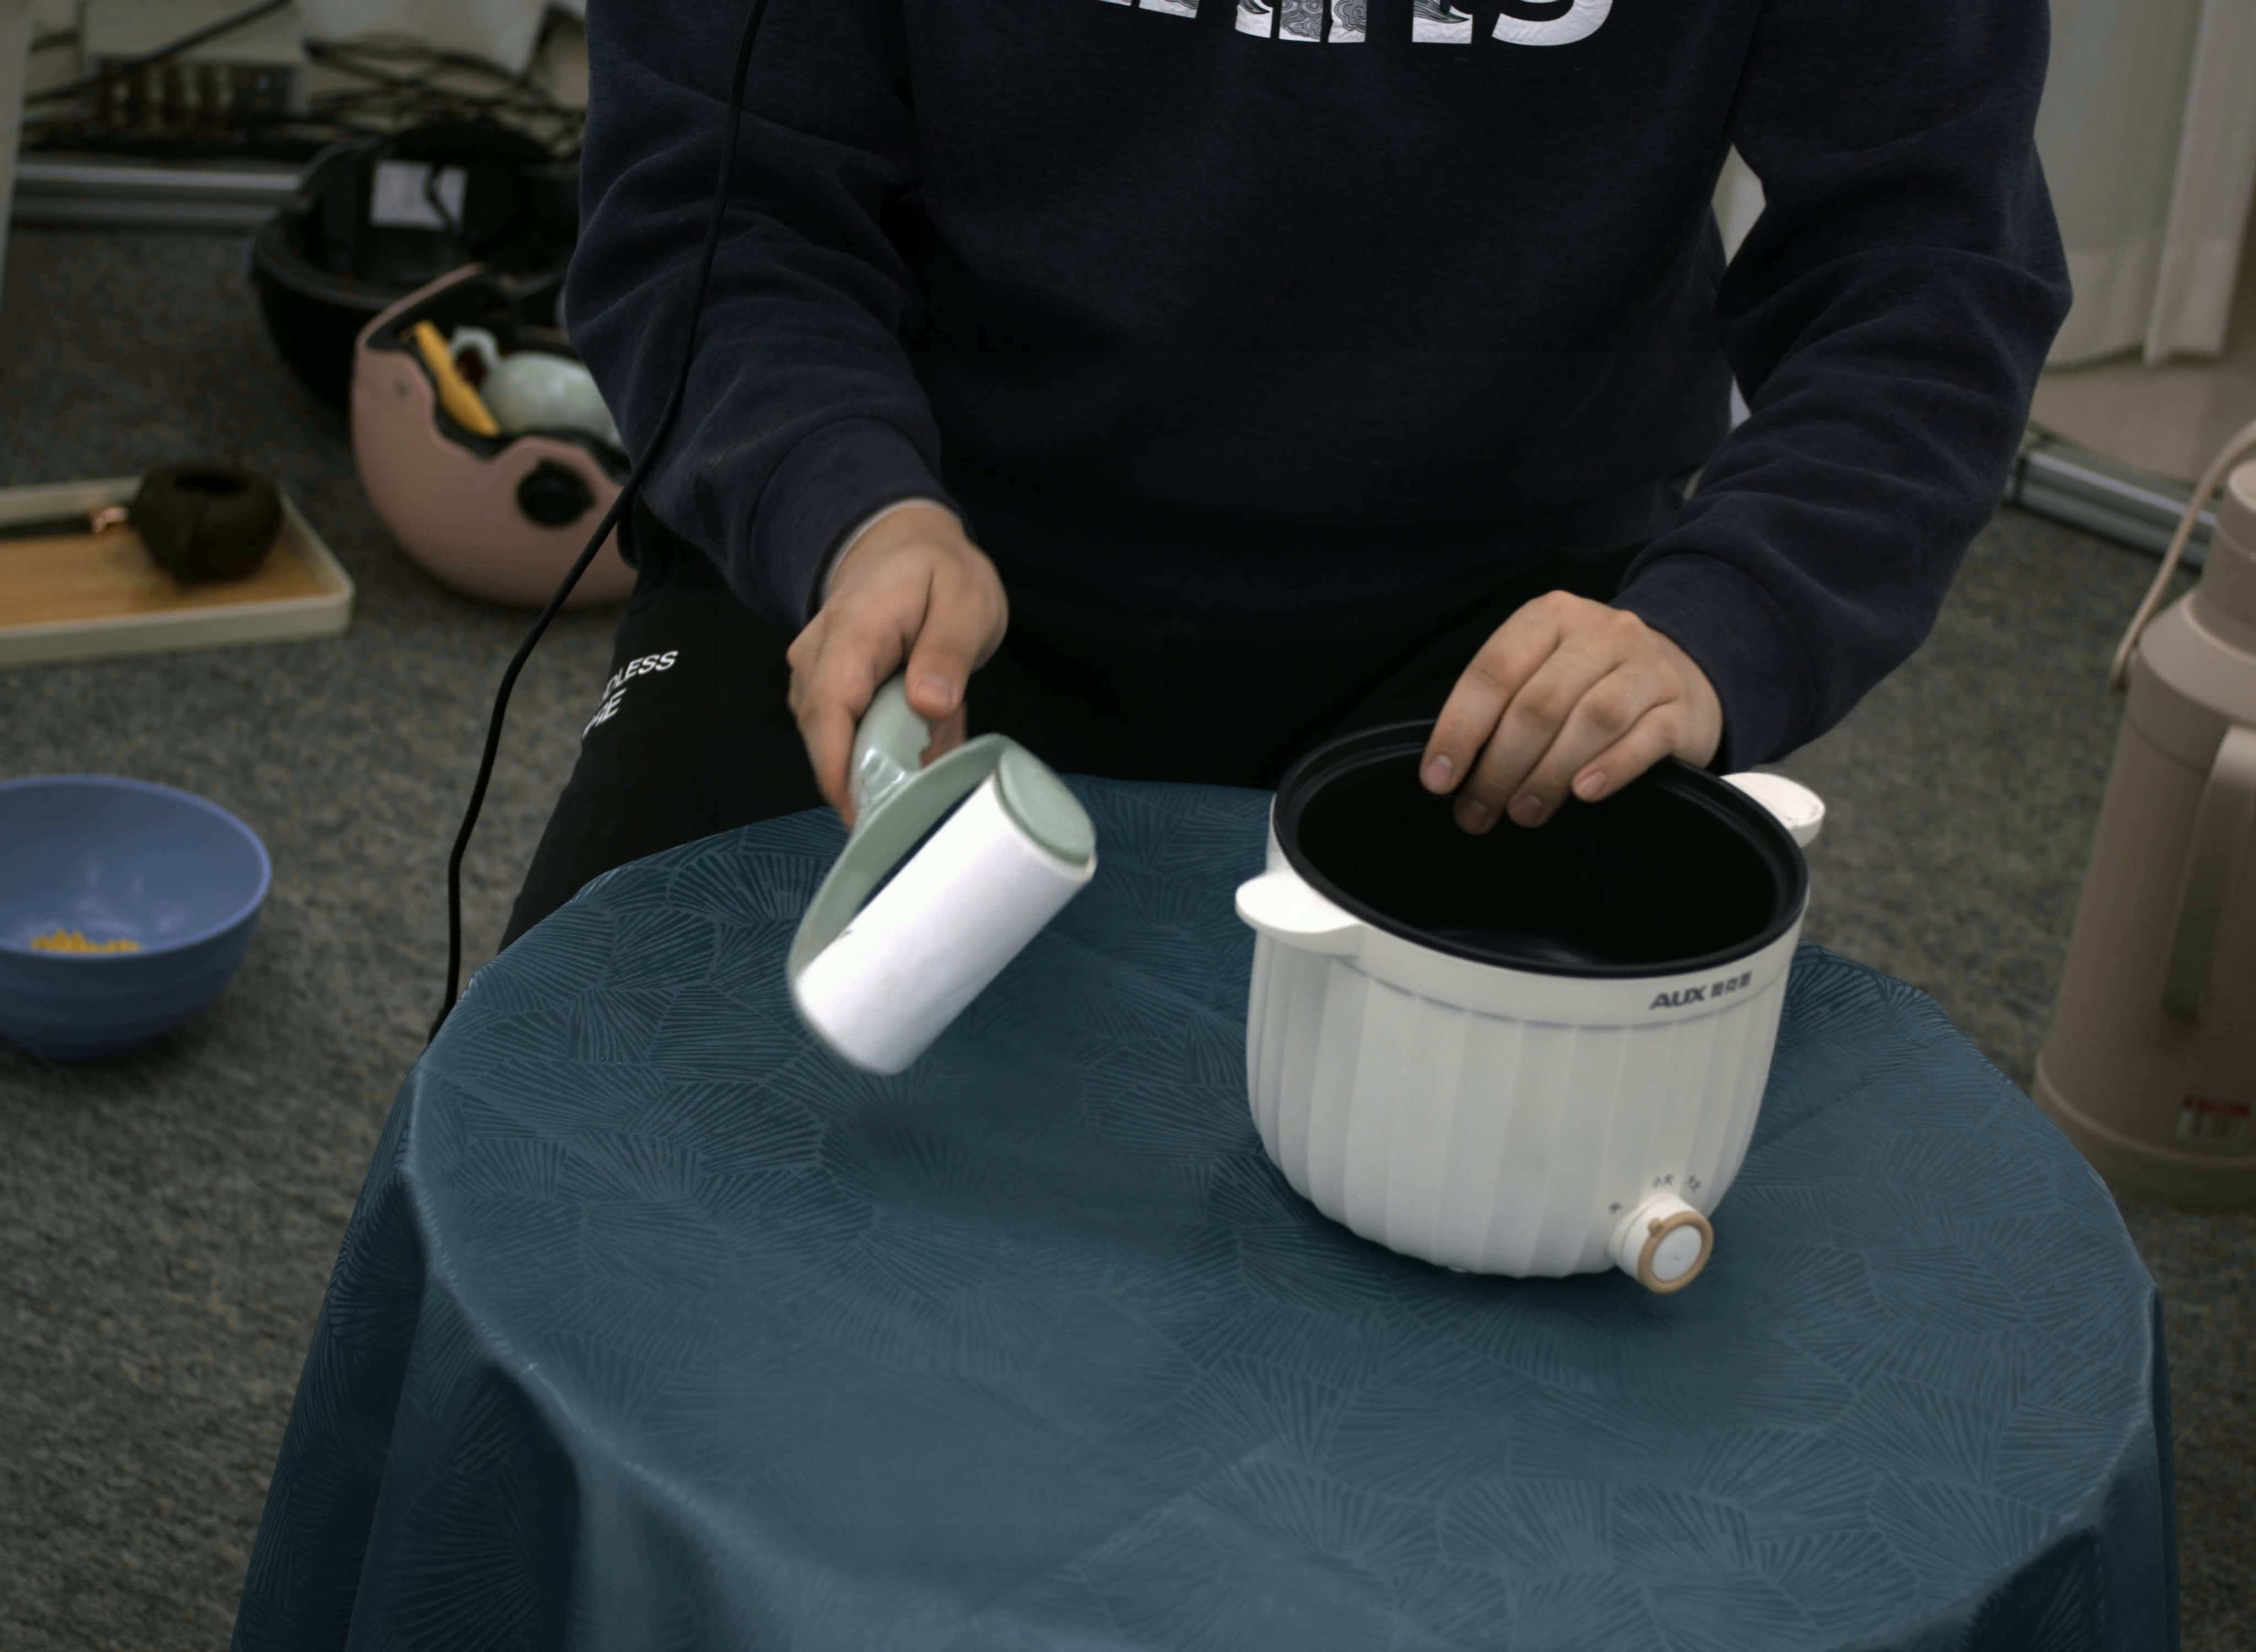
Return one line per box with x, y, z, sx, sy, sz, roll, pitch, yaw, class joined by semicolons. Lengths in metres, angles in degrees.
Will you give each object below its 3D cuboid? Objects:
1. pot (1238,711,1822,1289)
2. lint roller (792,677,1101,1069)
0.135;0.064;1.803;0.239;0.142;0.192;-13;30;-32;pot
-0.070;-0.008;1.838;0.048;0.116;0.199;36;20;-26;lint roller
